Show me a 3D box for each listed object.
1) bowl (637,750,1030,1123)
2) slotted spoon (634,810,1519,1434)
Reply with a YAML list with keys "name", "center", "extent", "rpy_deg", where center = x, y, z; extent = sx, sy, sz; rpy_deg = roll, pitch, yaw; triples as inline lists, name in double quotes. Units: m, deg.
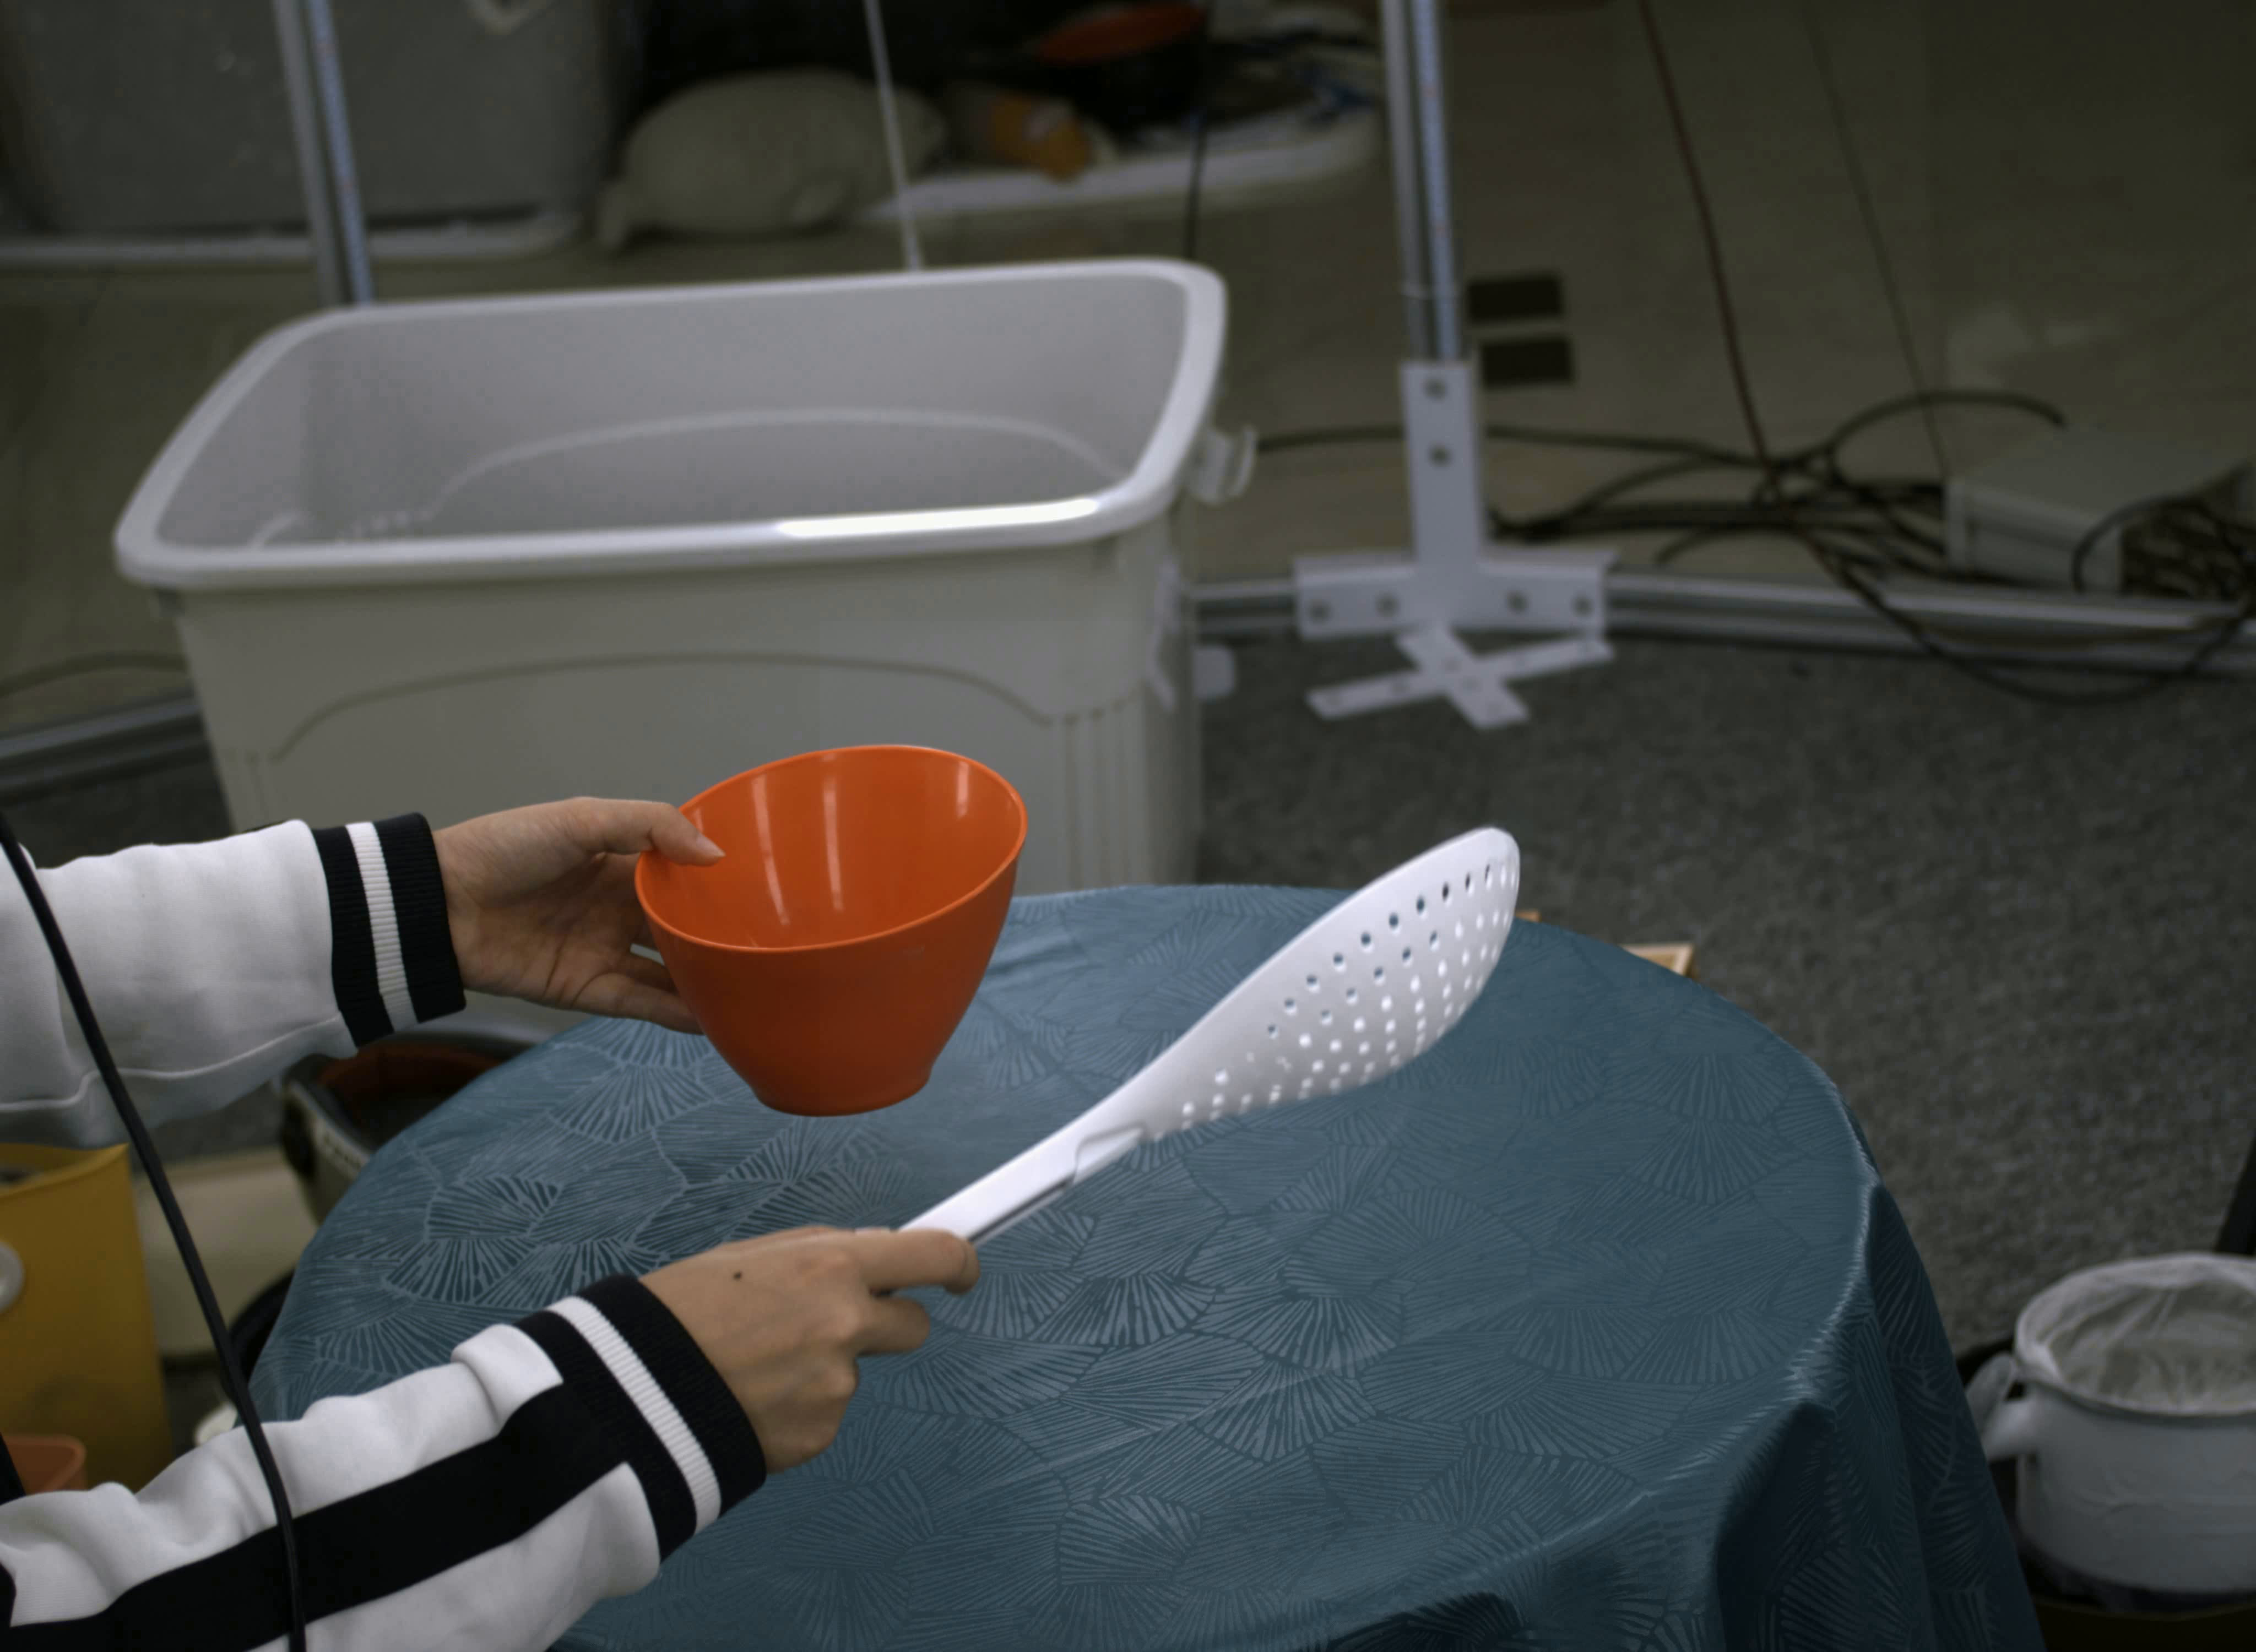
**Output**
- name: "bowl"
  center: [-0.107, 0.046, 2.121]
  extent: [0.148, 0.106, 0.146]
  rpy_deg: [-3, 23, 1]
- name: "slotted spoon"
  center: [-0.012, 0.098, 1.849]
  extent: [0.348, 0.137, 0.045]
  rpy_deg: [-27, 74, -13]
